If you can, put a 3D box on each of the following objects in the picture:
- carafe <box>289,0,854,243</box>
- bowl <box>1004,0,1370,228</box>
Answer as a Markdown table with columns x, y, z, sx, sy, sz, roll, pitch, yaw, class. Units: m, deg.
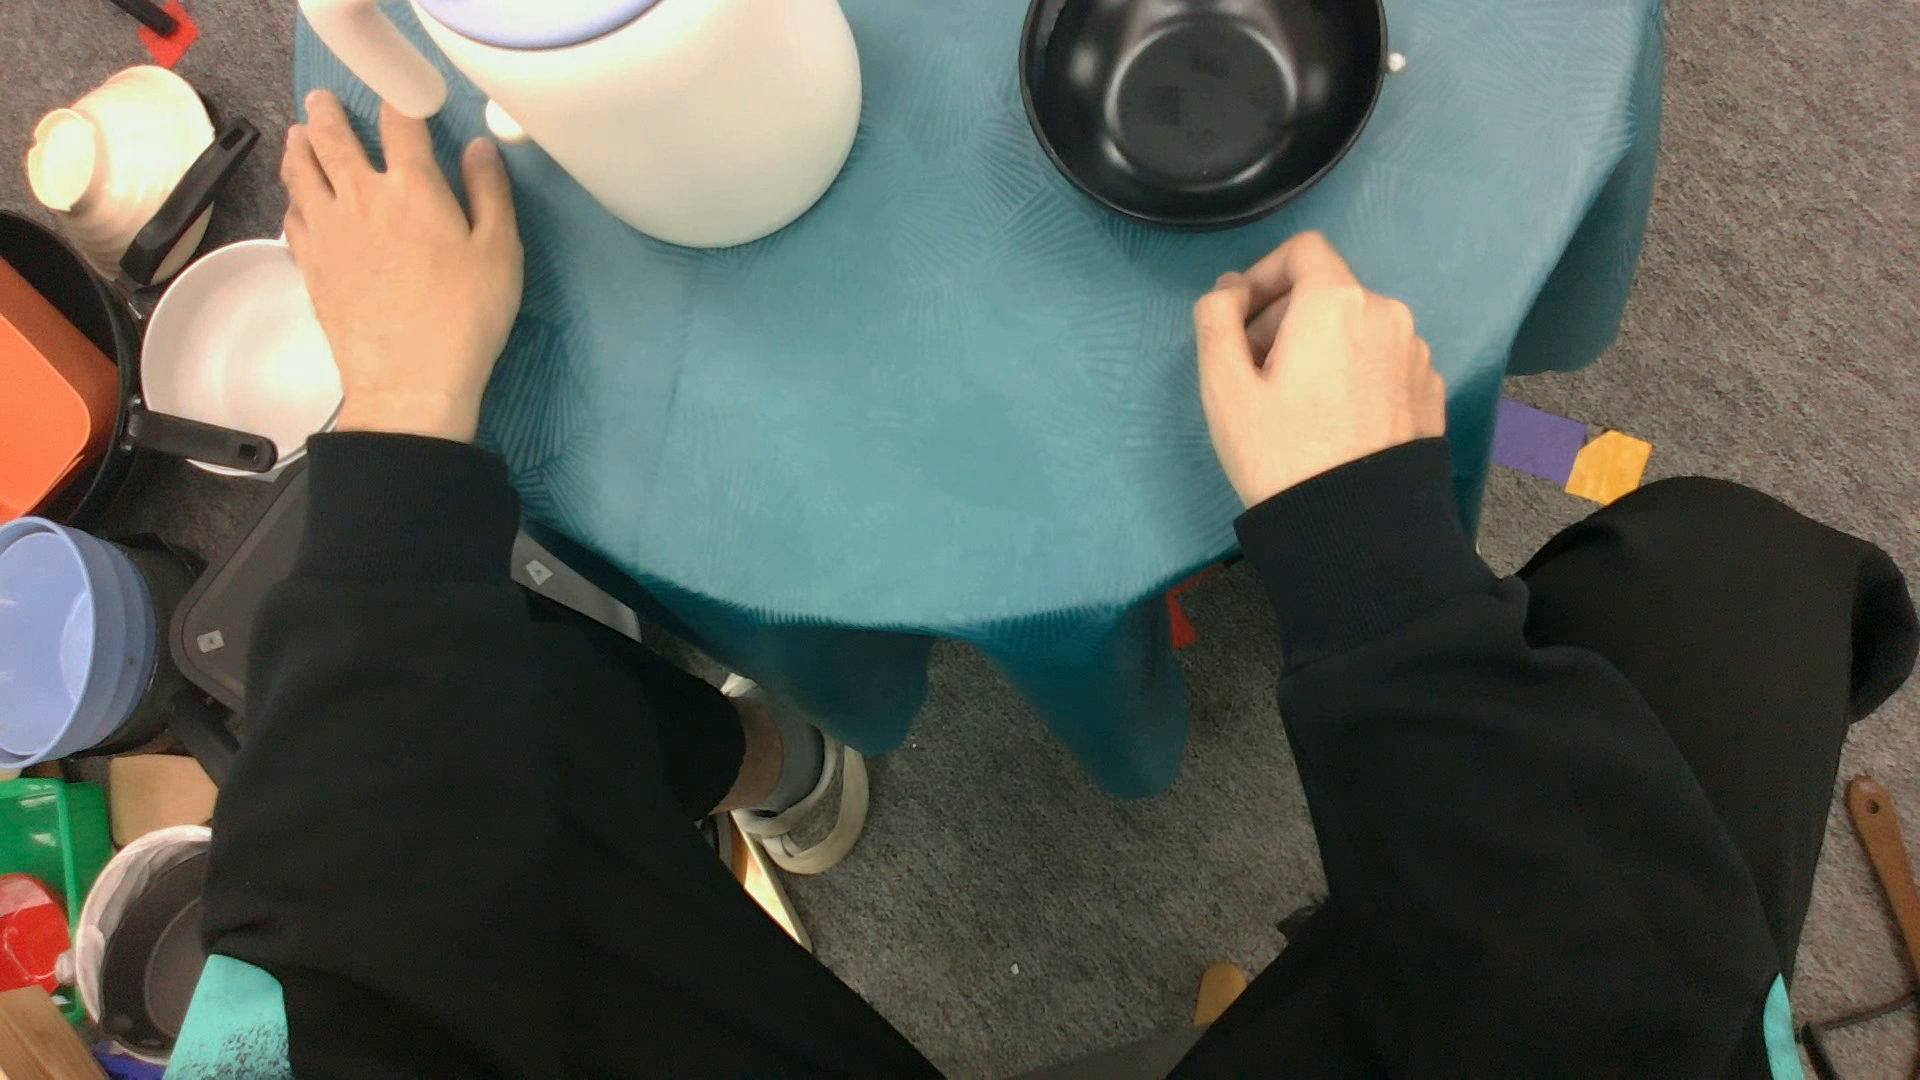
| x | y | z | sx | sy | sz | roll | pitch | yaw | class |
| --- | --- | --- | --- | --- | --- | --- | --- | --- | --- |
| -0.145 | -0.198 | 0.524 | 0.191 | 0.182 | 0.132 | -10 | 79 | 9 | carafe |
| 0.089 | -0.186 | 0.551 | 0.140 | 0.050 | 0.140 | -1 | 83 | 9 | bowl |
